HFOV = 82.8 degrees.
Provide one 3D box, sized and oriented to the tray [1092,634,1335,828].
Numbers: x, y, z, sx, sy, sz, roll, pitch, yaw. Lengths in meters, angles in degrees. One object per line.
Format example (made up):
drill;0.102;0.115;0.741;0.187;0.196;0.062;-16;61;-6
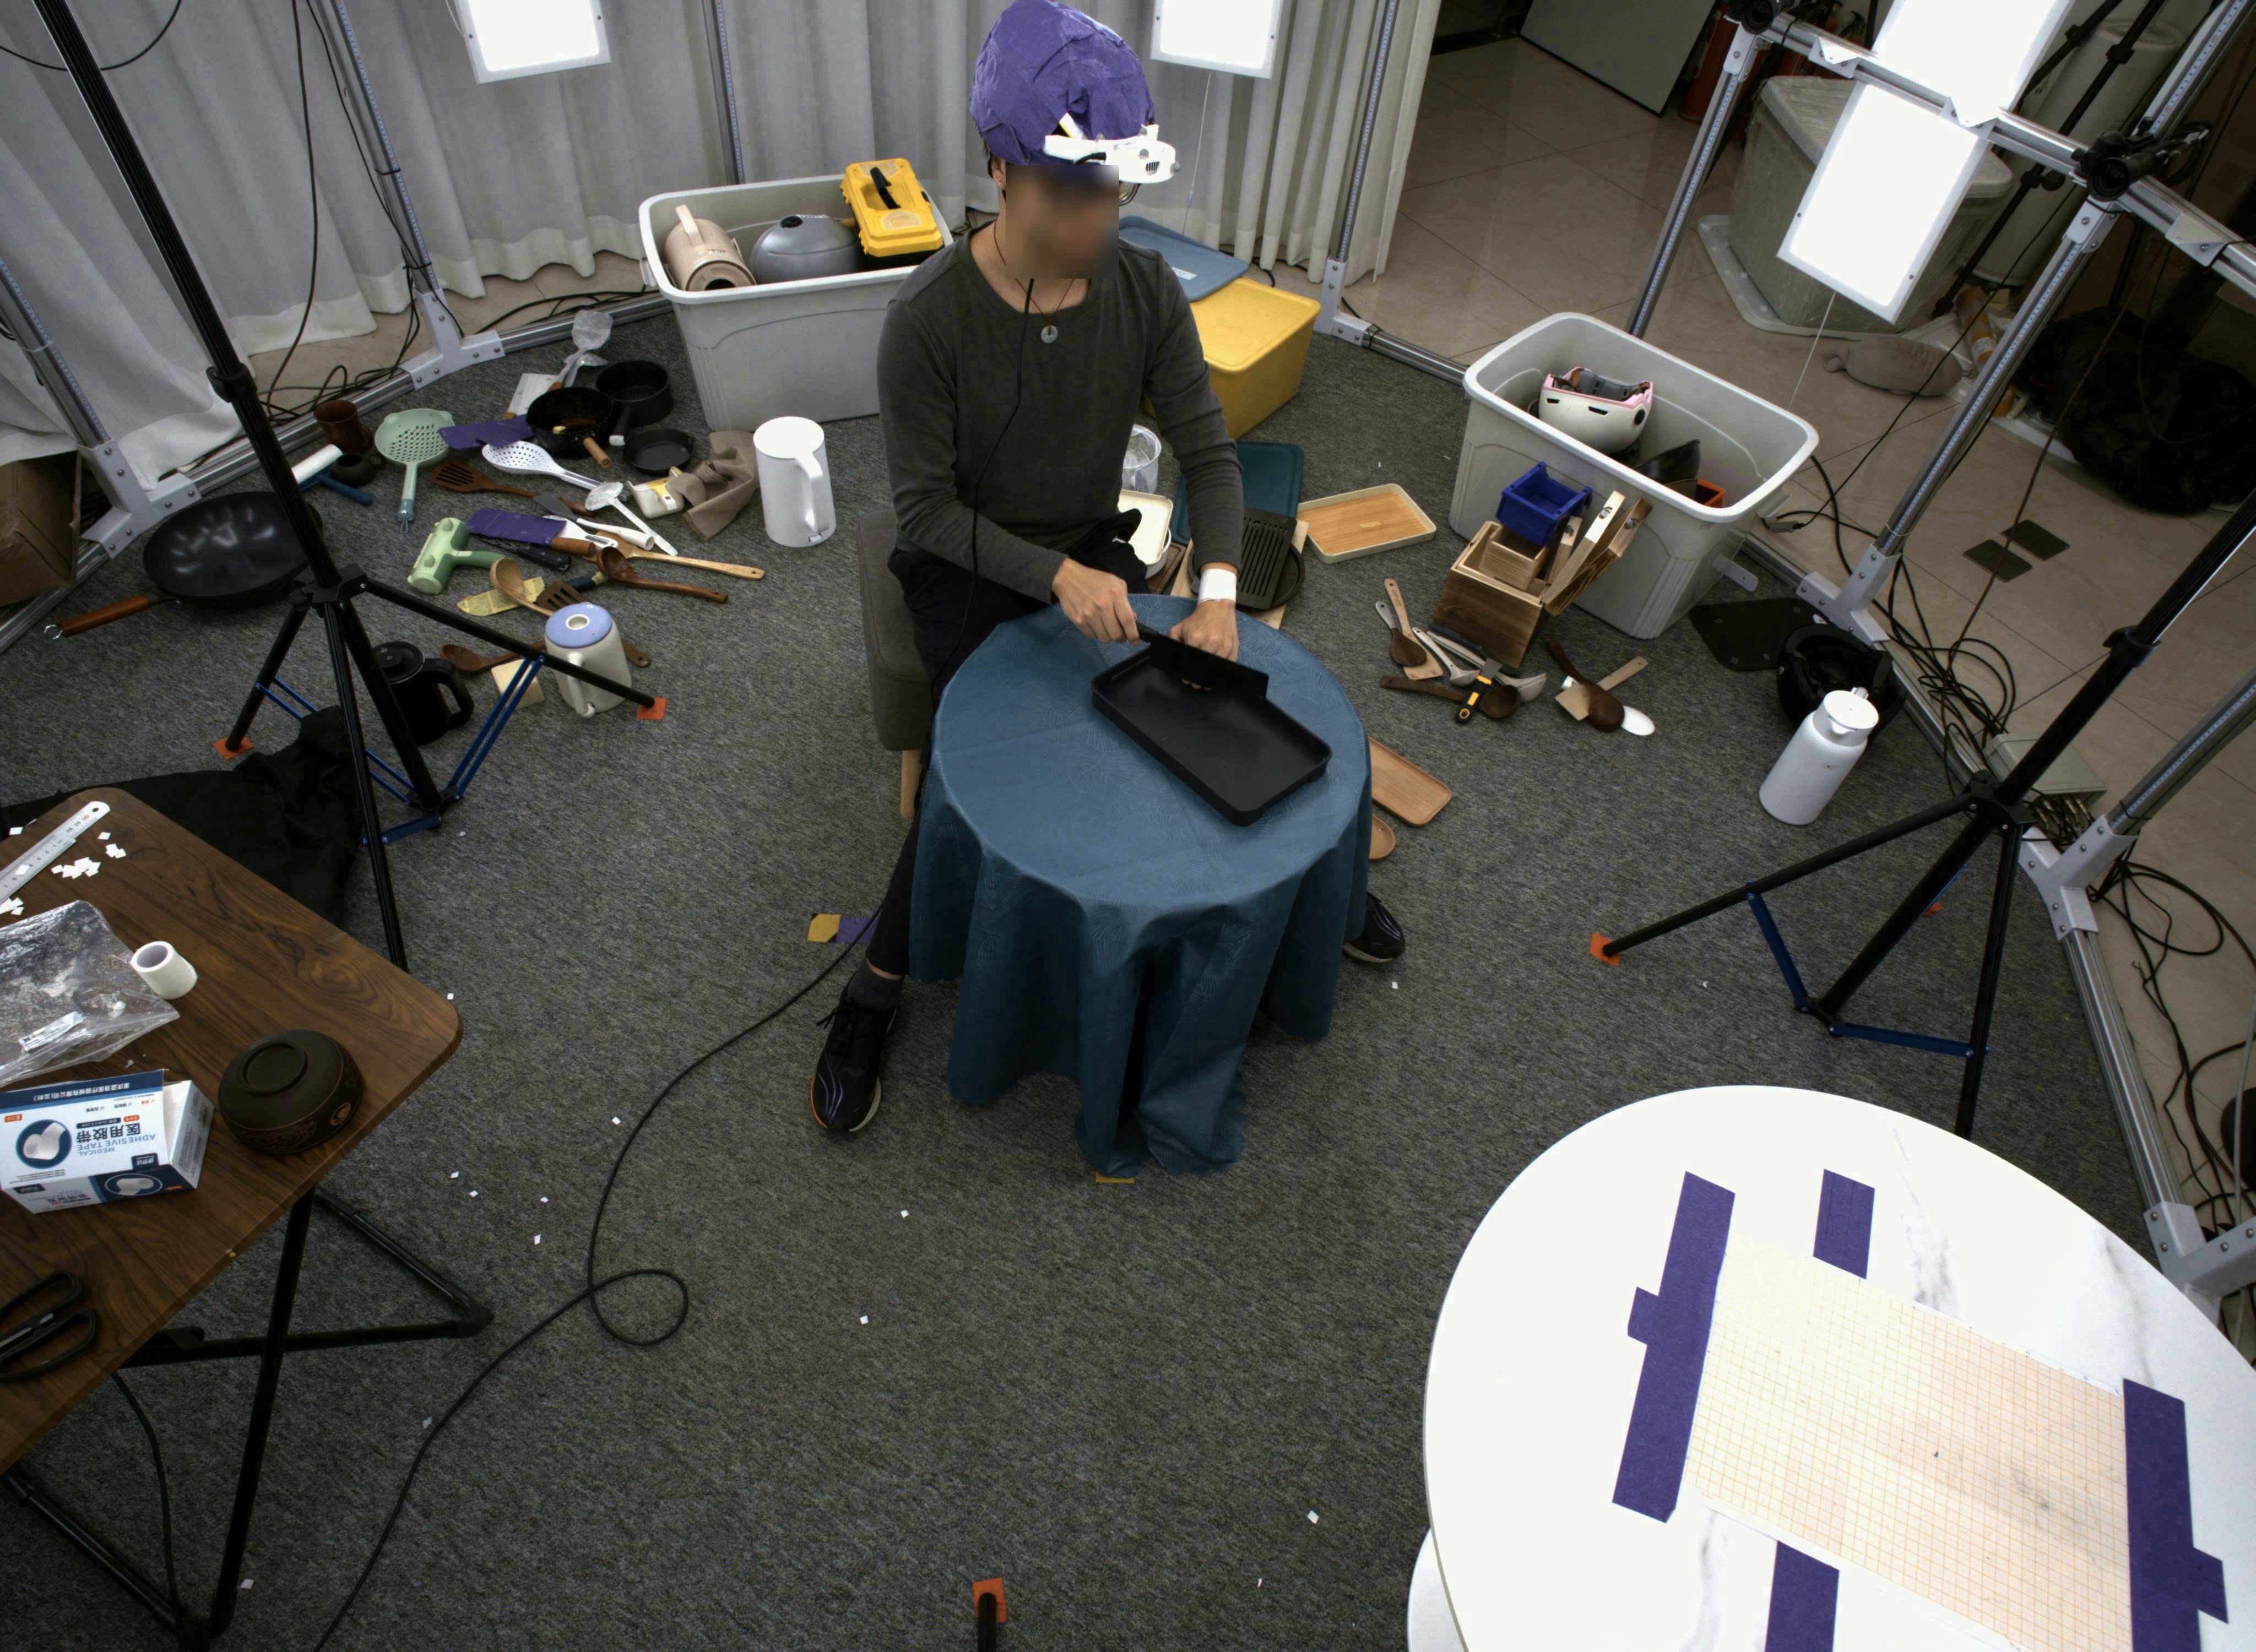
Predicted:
tray;0.114;-0.137;1.770;0.186;0.036;0.323;-34;59;-29

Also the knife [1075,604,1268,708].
knife;0.058;-0.241;1.797;0.304;0.079;0.021;26;51;15
